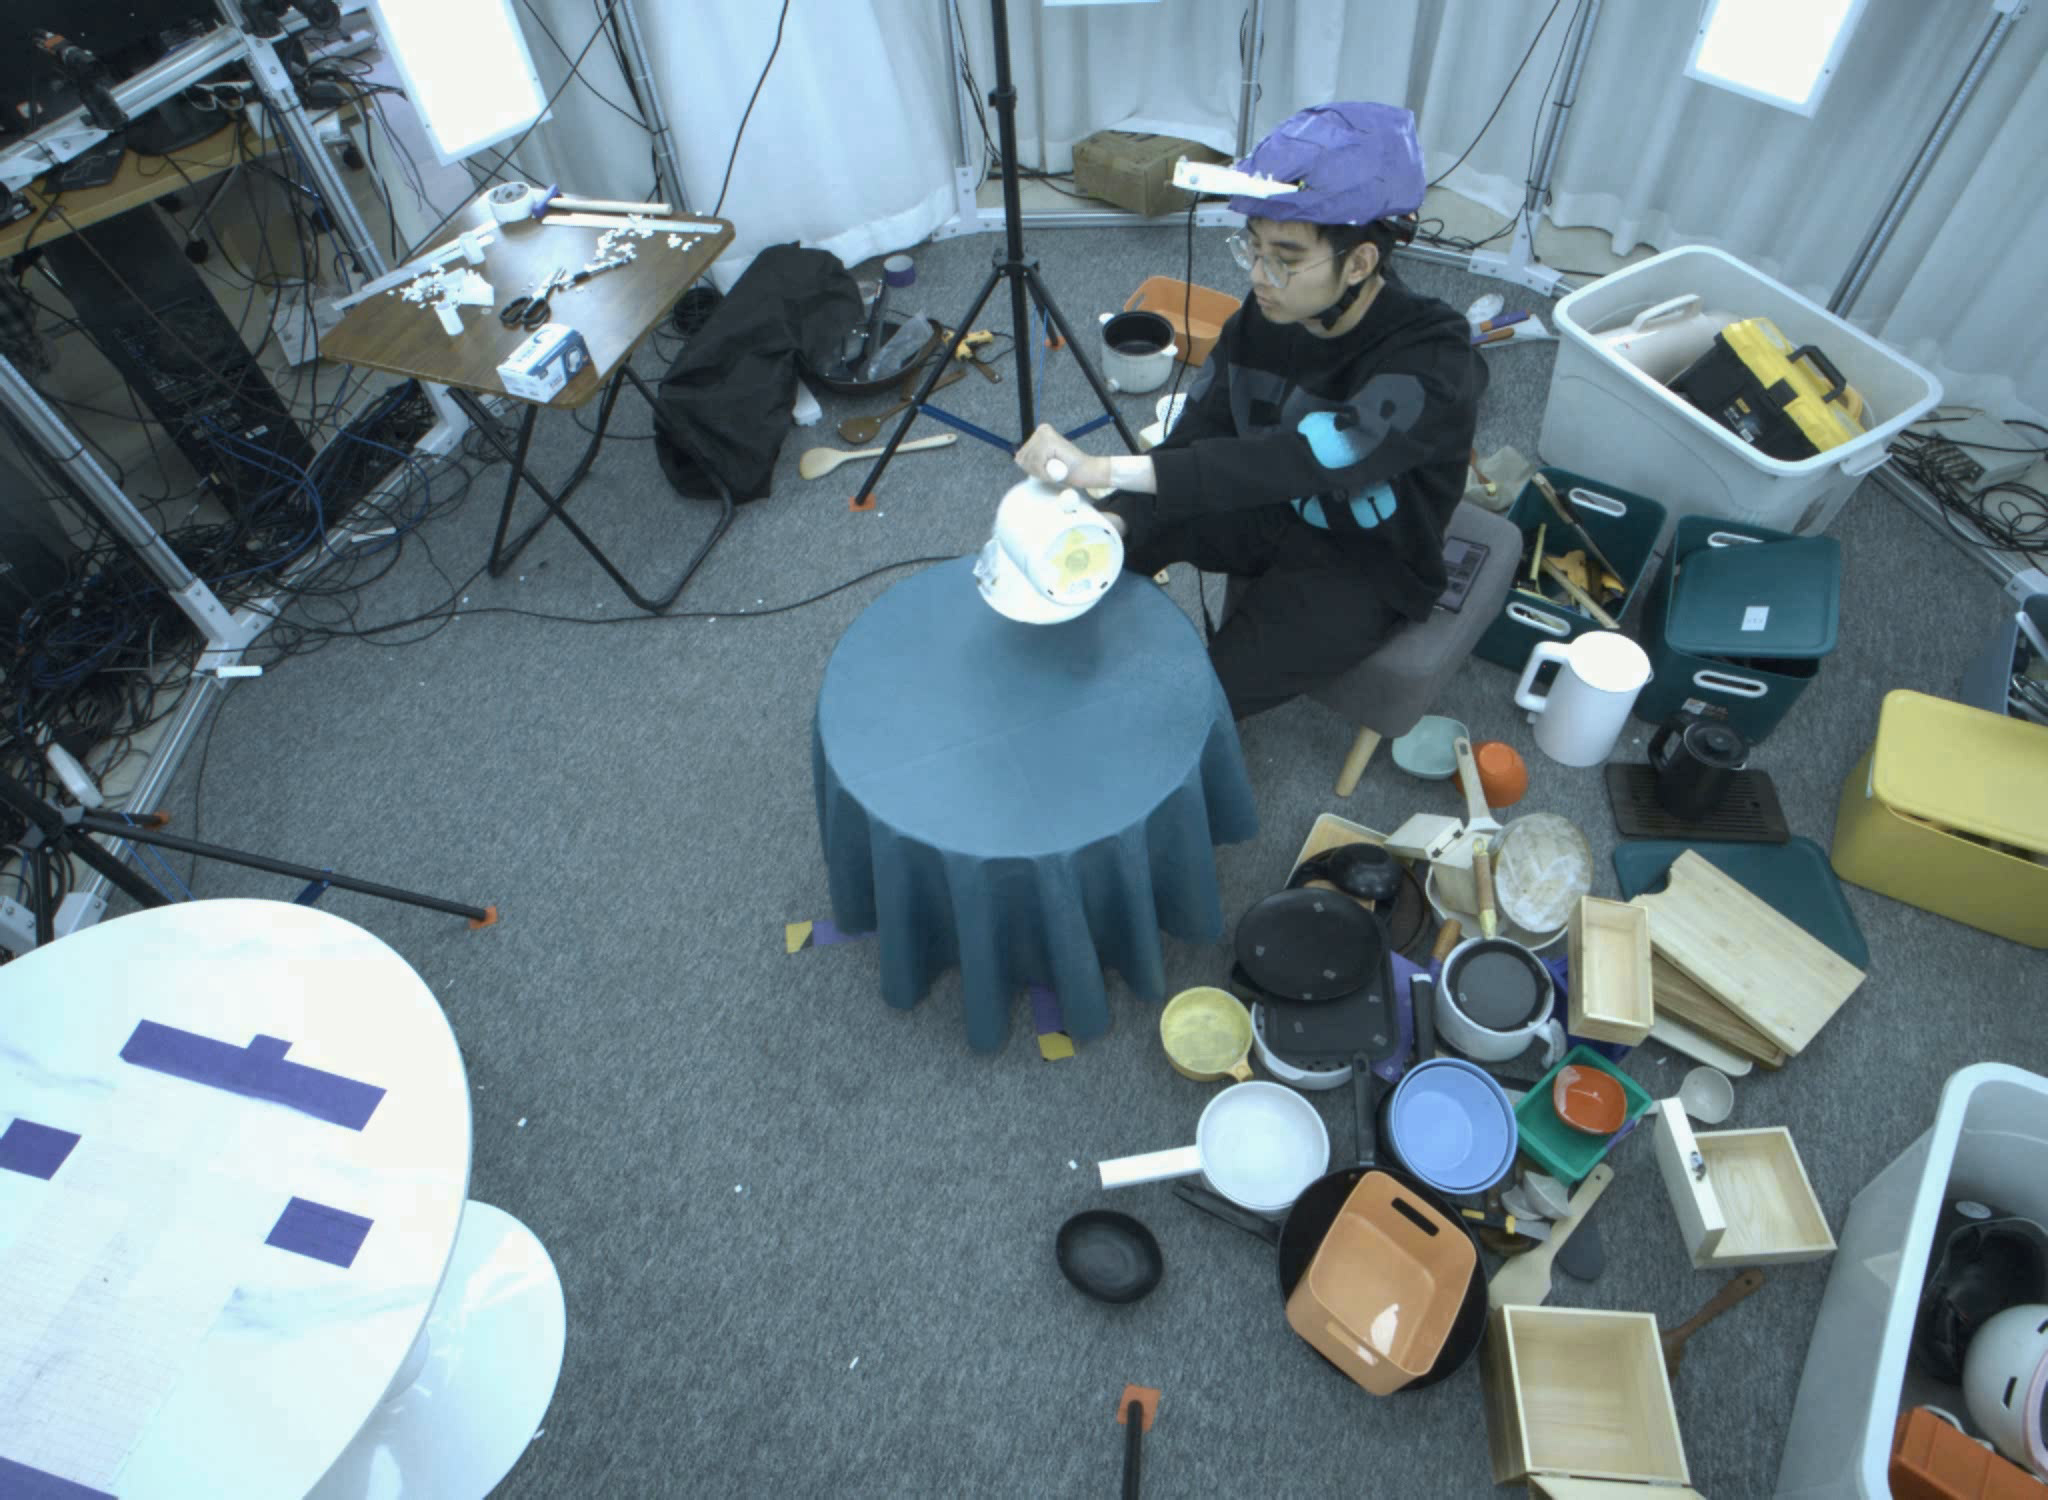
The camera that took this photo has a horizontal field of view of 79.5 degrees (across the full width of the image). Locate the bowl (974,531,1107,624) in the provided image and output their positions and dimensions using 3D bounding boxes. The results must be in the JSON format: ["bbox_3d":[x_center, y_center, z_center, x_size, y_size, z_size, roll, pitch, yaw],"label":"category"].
[{"bbox_3d":[0.026,-0.249,1.864,0.204,0.078,0.202,2,57,-2],"label":"bowl"}]

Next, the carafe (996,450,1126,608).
[{"bbox_3d":[0.044,-0.305,1.644,0.133,0.193,0.178,-15,41,-17],"label":"carafe"}]
